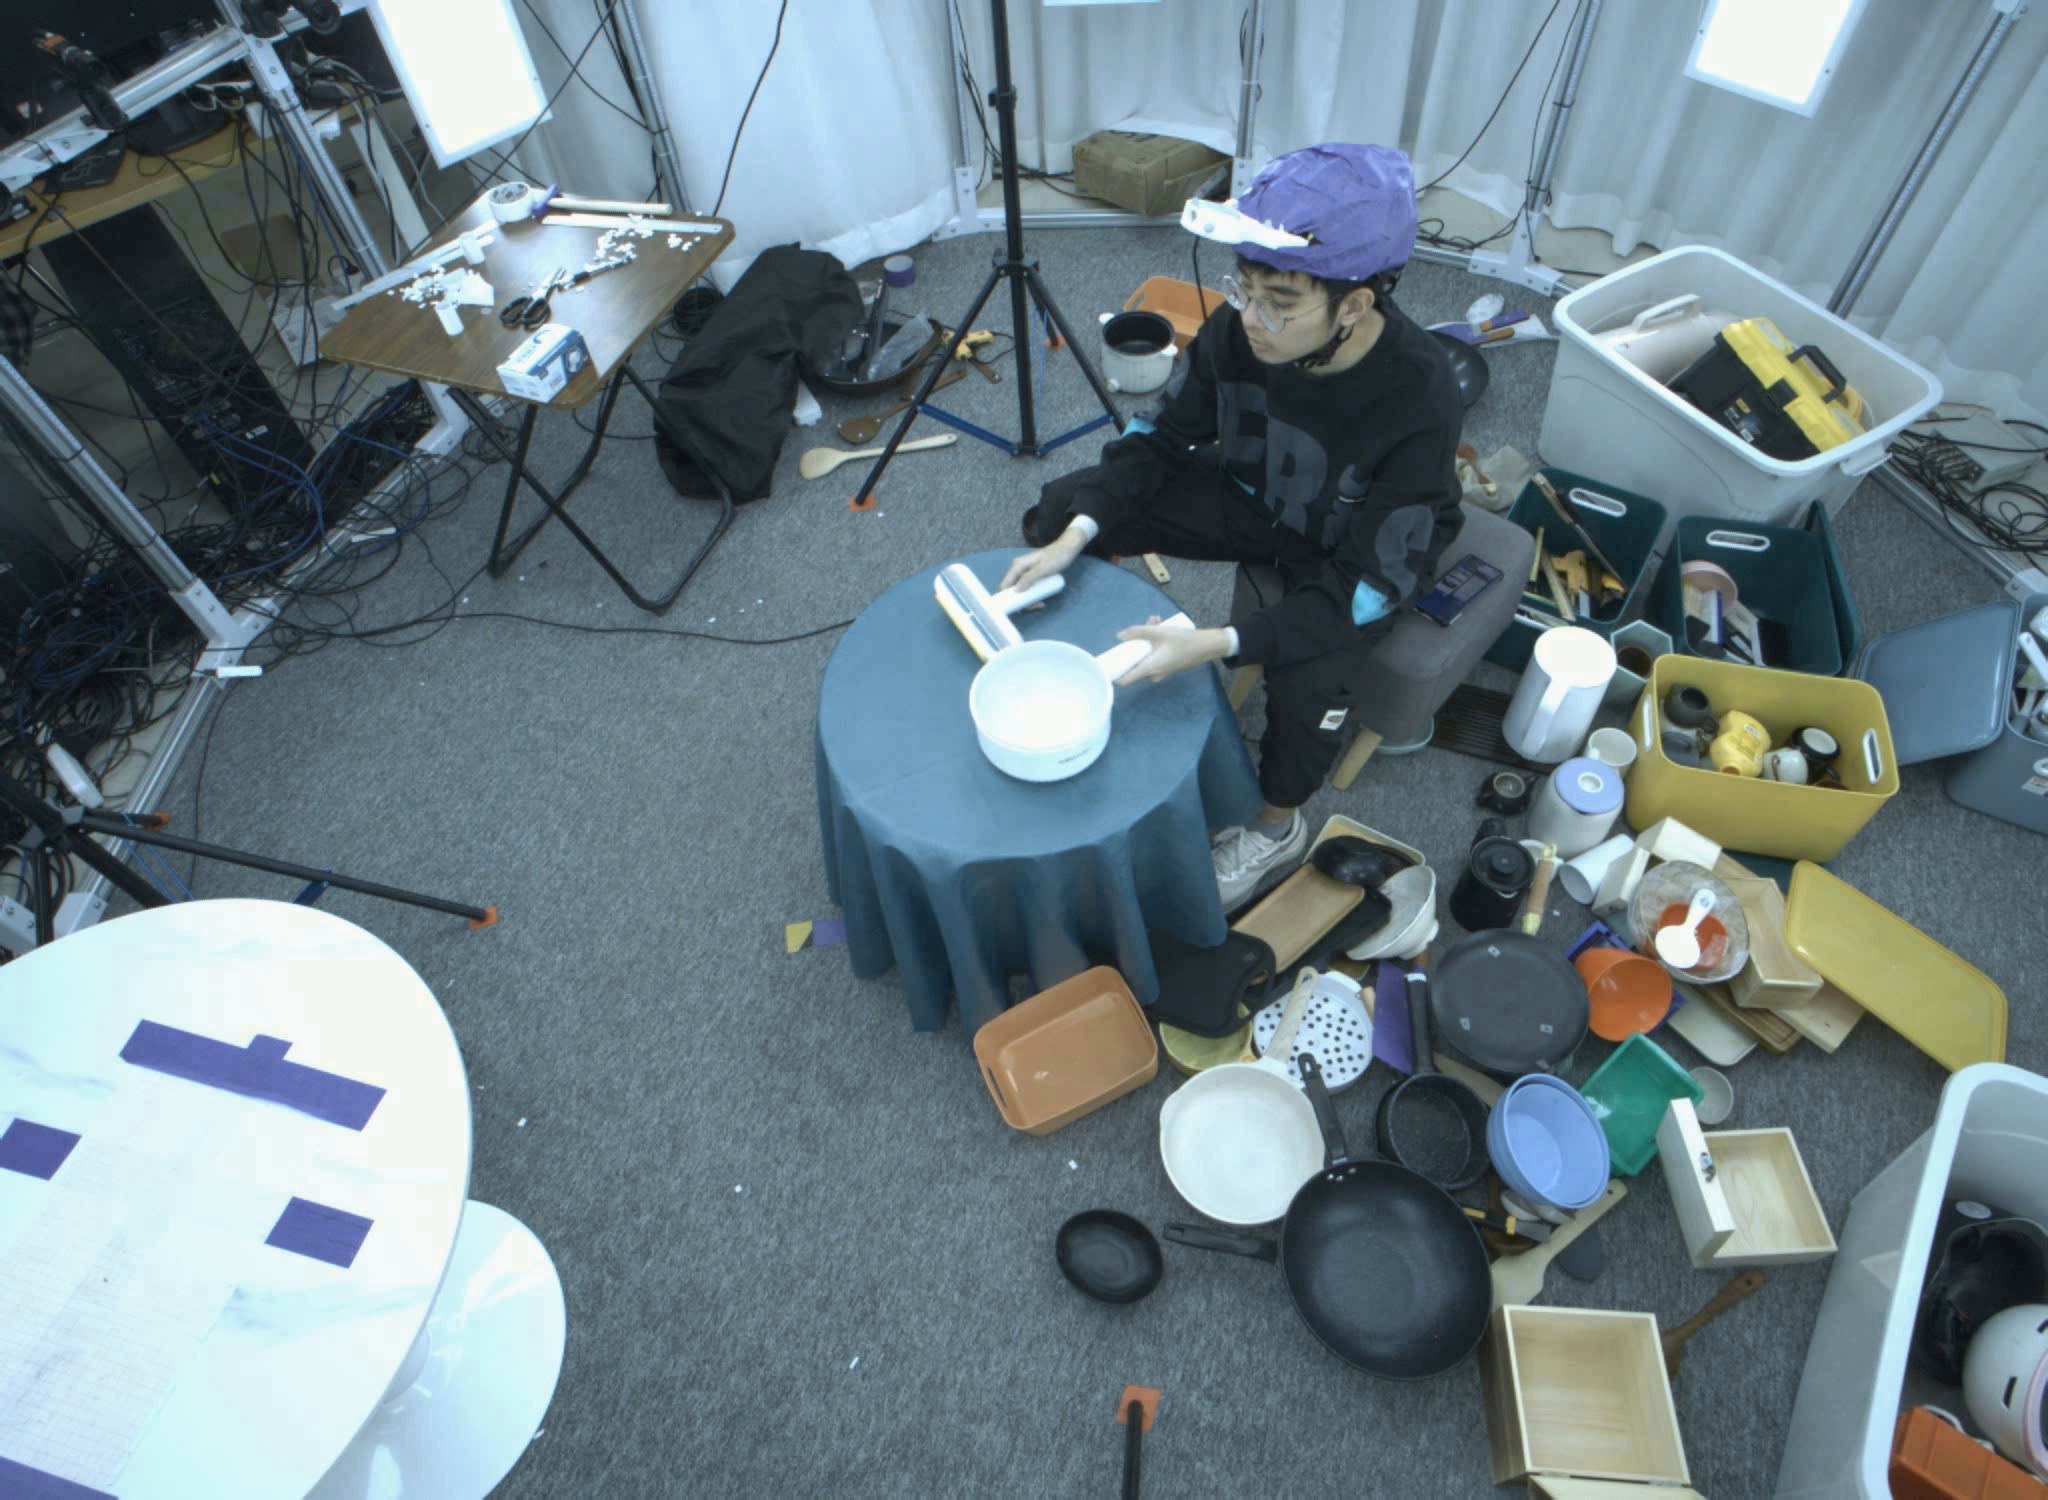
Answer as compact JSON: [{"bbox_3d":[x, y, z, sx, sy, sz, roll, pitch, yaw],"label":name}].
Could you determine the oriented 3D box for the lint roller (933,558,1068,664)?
[{"bbox_3d":[-0.022,-0.235,1.899,0.193,0.075,0.189,-29,64,-8],"label":"lint roller"}]

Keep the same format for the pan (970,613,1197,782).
[{"bbox_3d":[0.092,-0.086,1.778,0.357,0.103,0.197,-28,58,-17],"label":"pan"}]
